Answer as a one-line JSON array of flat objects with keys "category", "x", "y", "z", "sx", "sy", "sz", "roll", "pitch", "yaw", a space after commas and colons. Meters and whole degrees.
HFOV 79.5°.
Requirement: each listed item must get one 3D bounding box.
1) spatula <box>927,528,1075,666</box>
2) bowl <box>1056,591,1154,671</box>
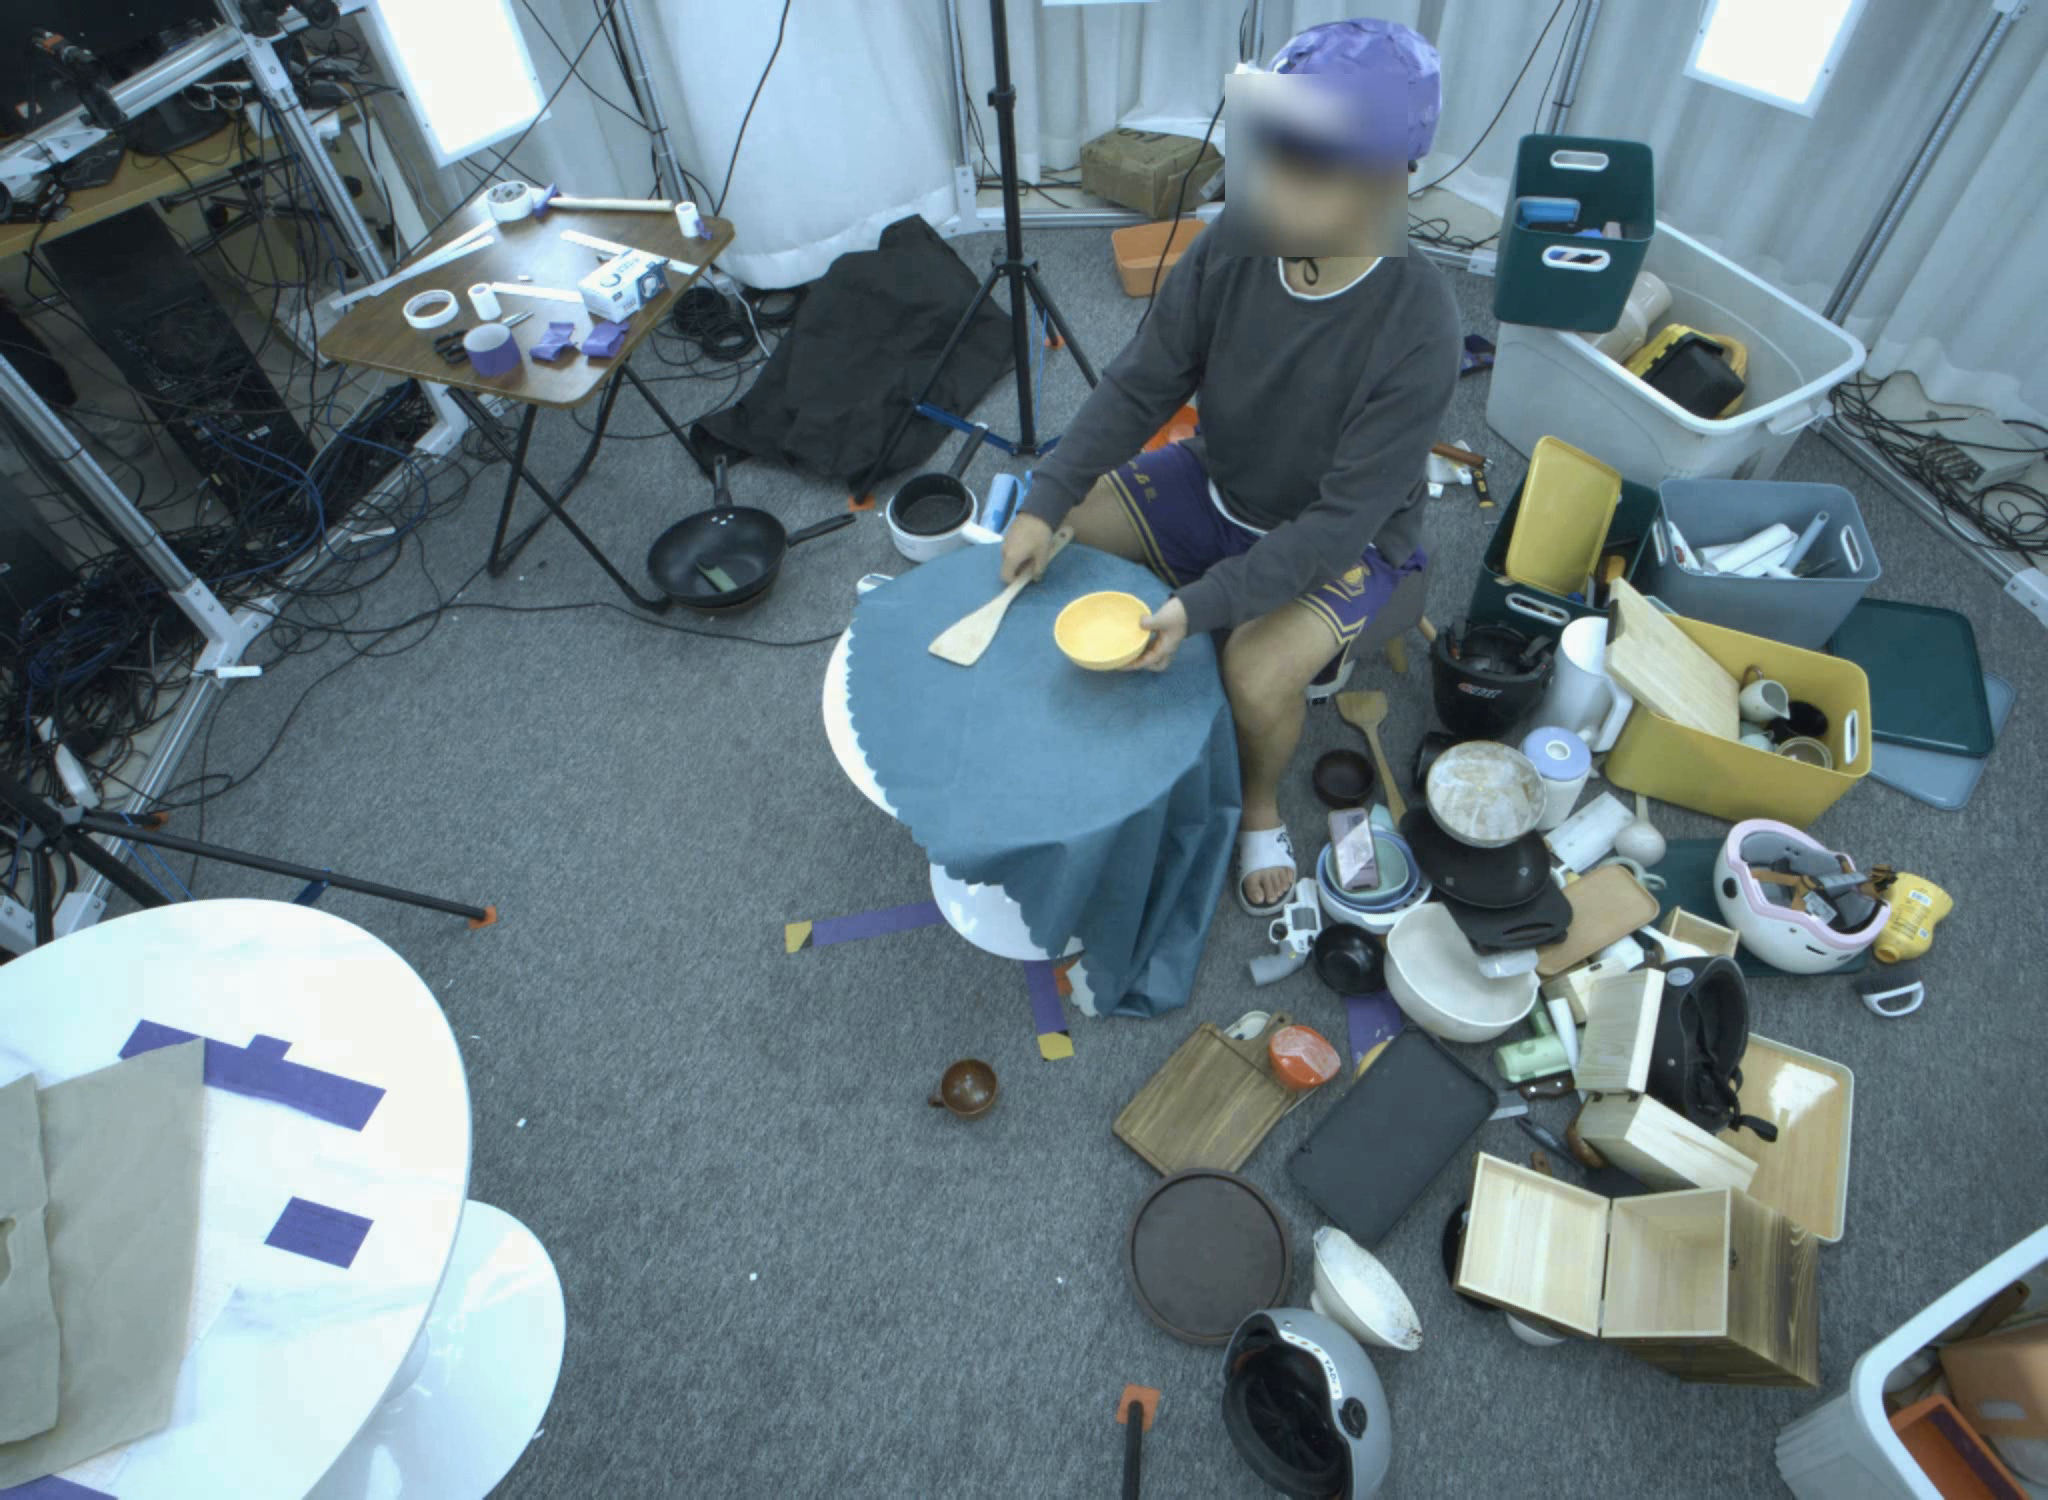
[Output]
[{"category": "spatula", "x": -0.022, "y": -0.249, "z": 1.950, "sx": 0.078, "sy": 0.017, "sz": 0.329, "roll": 32, "pitch": 67, "yaw": 22}, {"category": "bowl", "x": 0.123, "y": -0.164, "z": 1.824, "sx": 0.144, "sy": 0.061, "sz": 0.144, "roll": -5, "pitch": 51, "yaw": 7}]
